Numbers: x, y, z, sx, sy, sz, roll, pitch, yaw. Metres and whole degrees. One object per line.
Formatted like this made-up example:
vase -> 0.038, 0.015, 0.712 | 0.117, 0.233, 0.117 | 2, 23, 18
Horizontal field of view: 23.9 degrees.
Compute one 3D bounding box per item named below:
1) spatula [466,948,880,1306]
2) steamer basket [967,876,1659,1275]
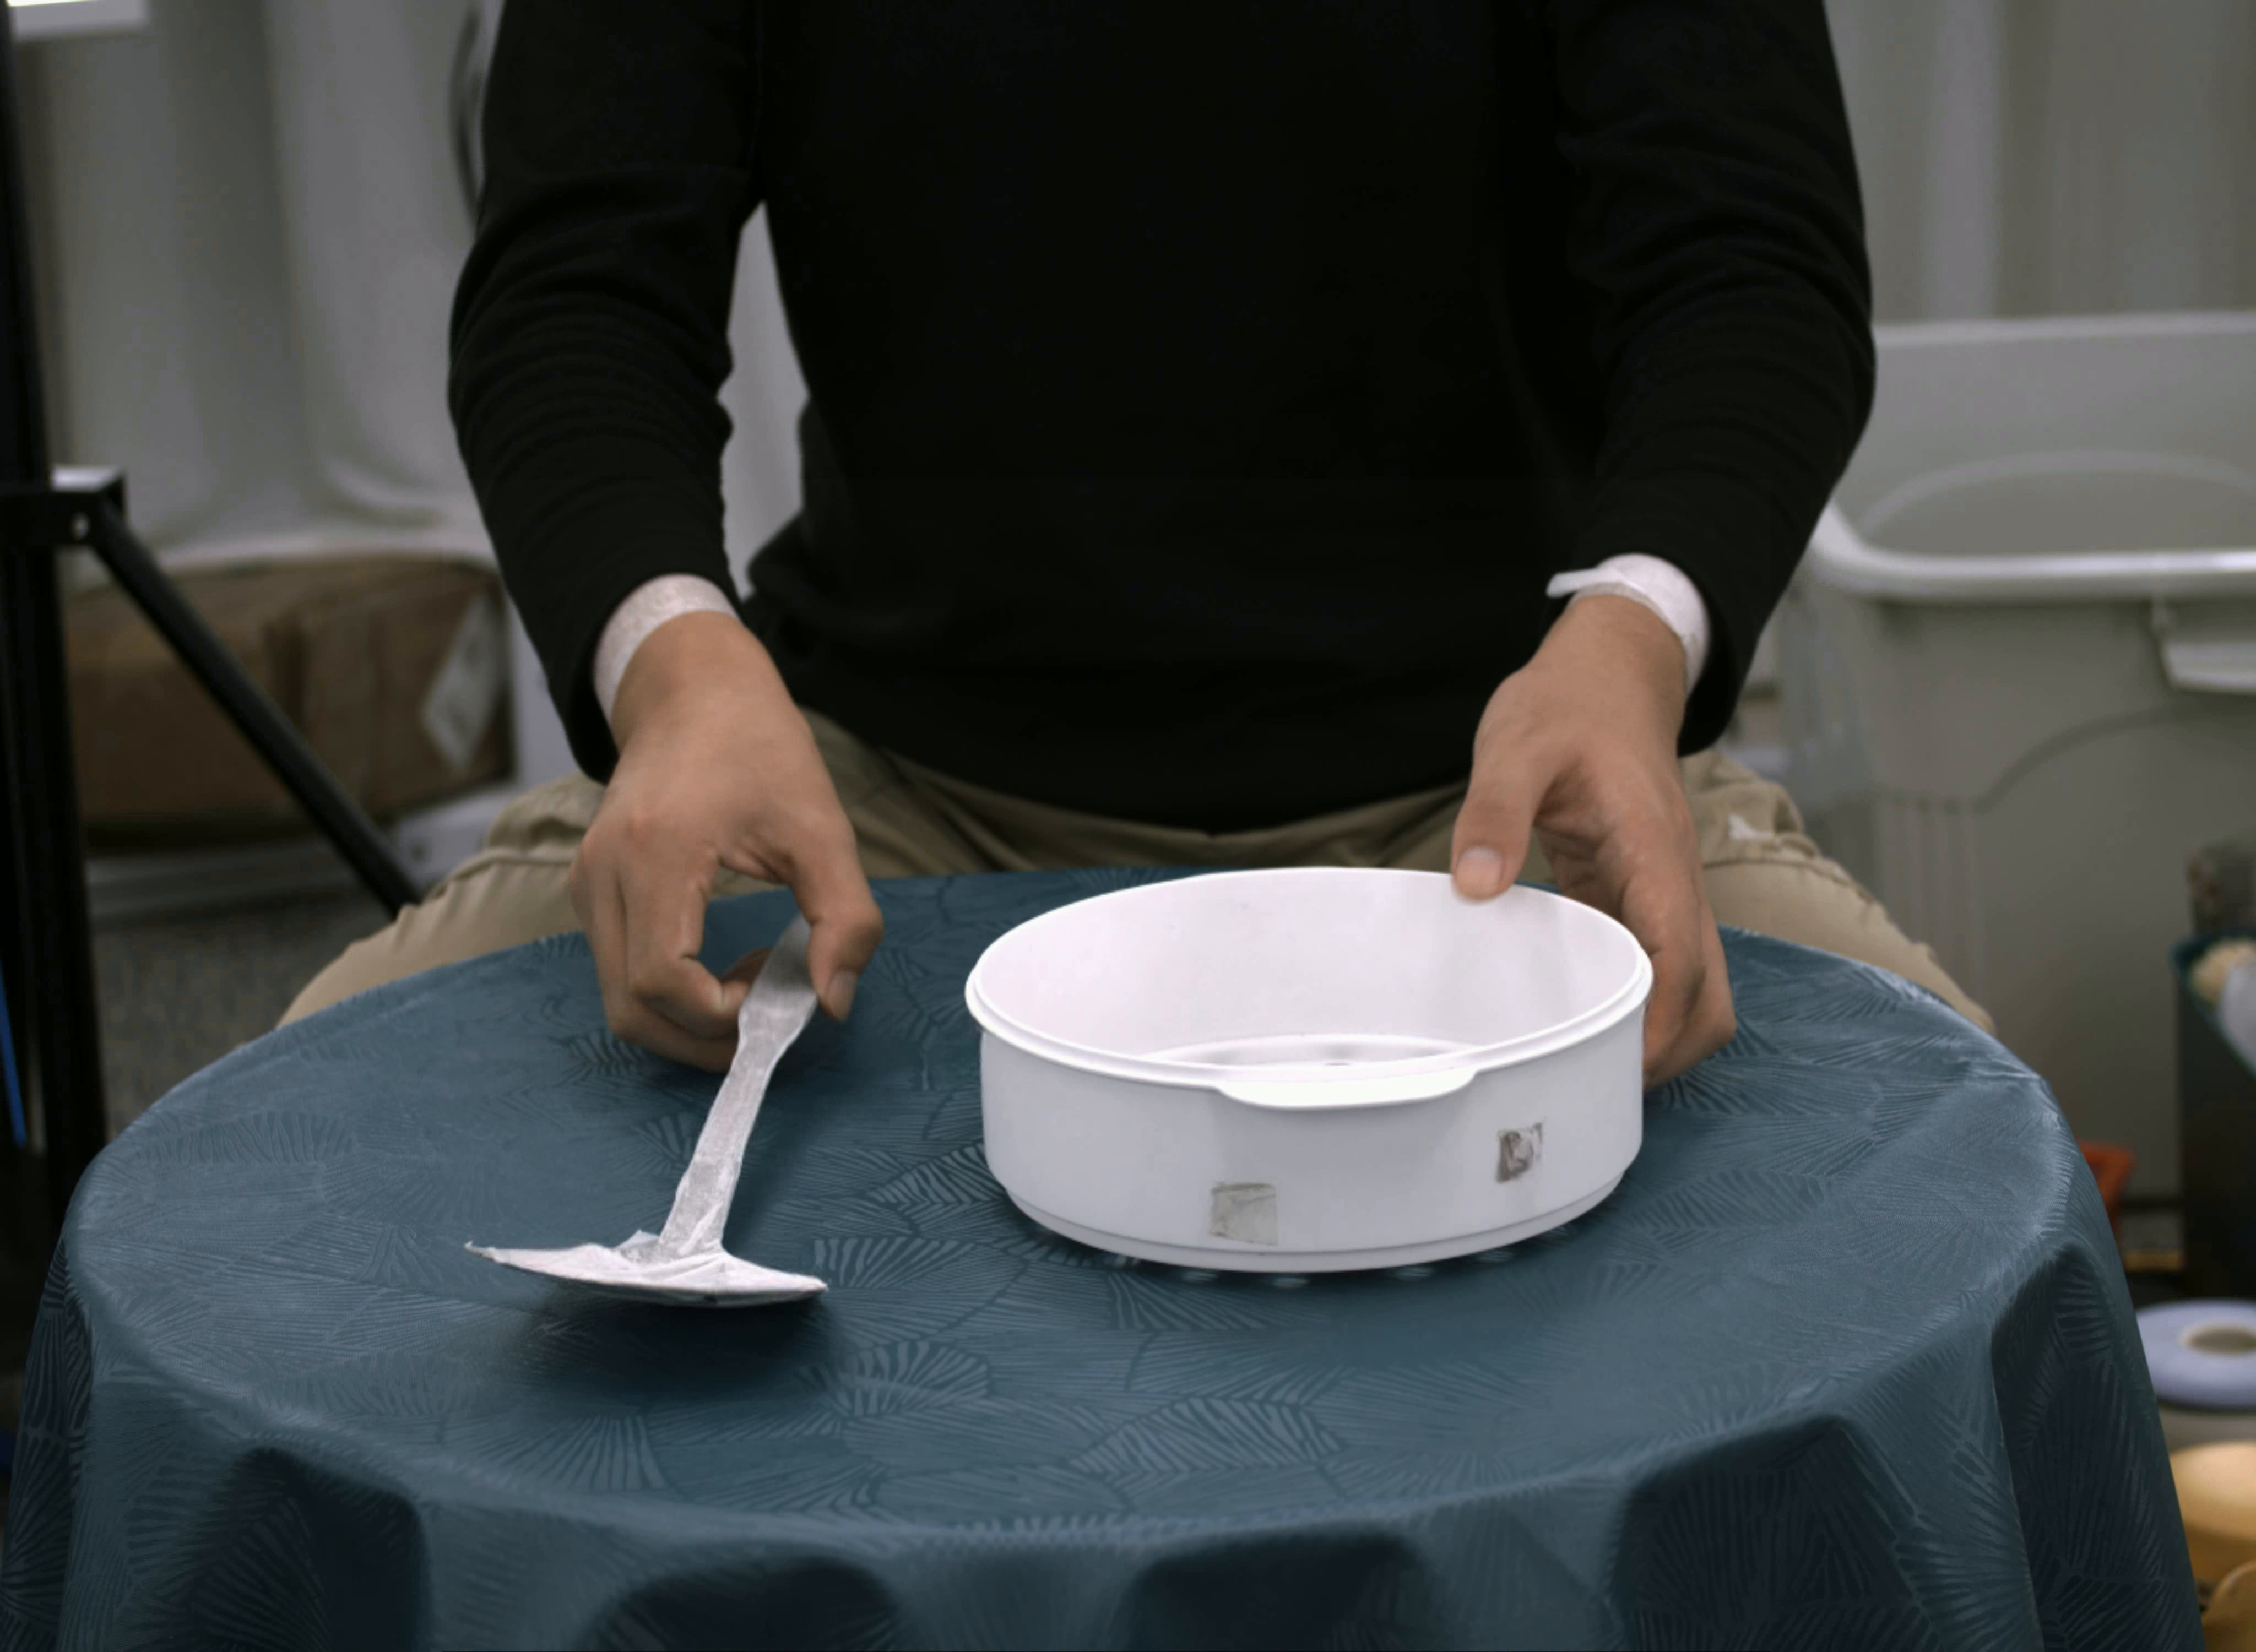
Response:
spatula -> -0.113, 0.080, 1.585 | 0.099, 0.045, 0.364 | 3, 19, 6
steamer basket -> 0.054, 0.072, 1.548 | 0.200, 0.069, 0.232 | -2, 15, -3
